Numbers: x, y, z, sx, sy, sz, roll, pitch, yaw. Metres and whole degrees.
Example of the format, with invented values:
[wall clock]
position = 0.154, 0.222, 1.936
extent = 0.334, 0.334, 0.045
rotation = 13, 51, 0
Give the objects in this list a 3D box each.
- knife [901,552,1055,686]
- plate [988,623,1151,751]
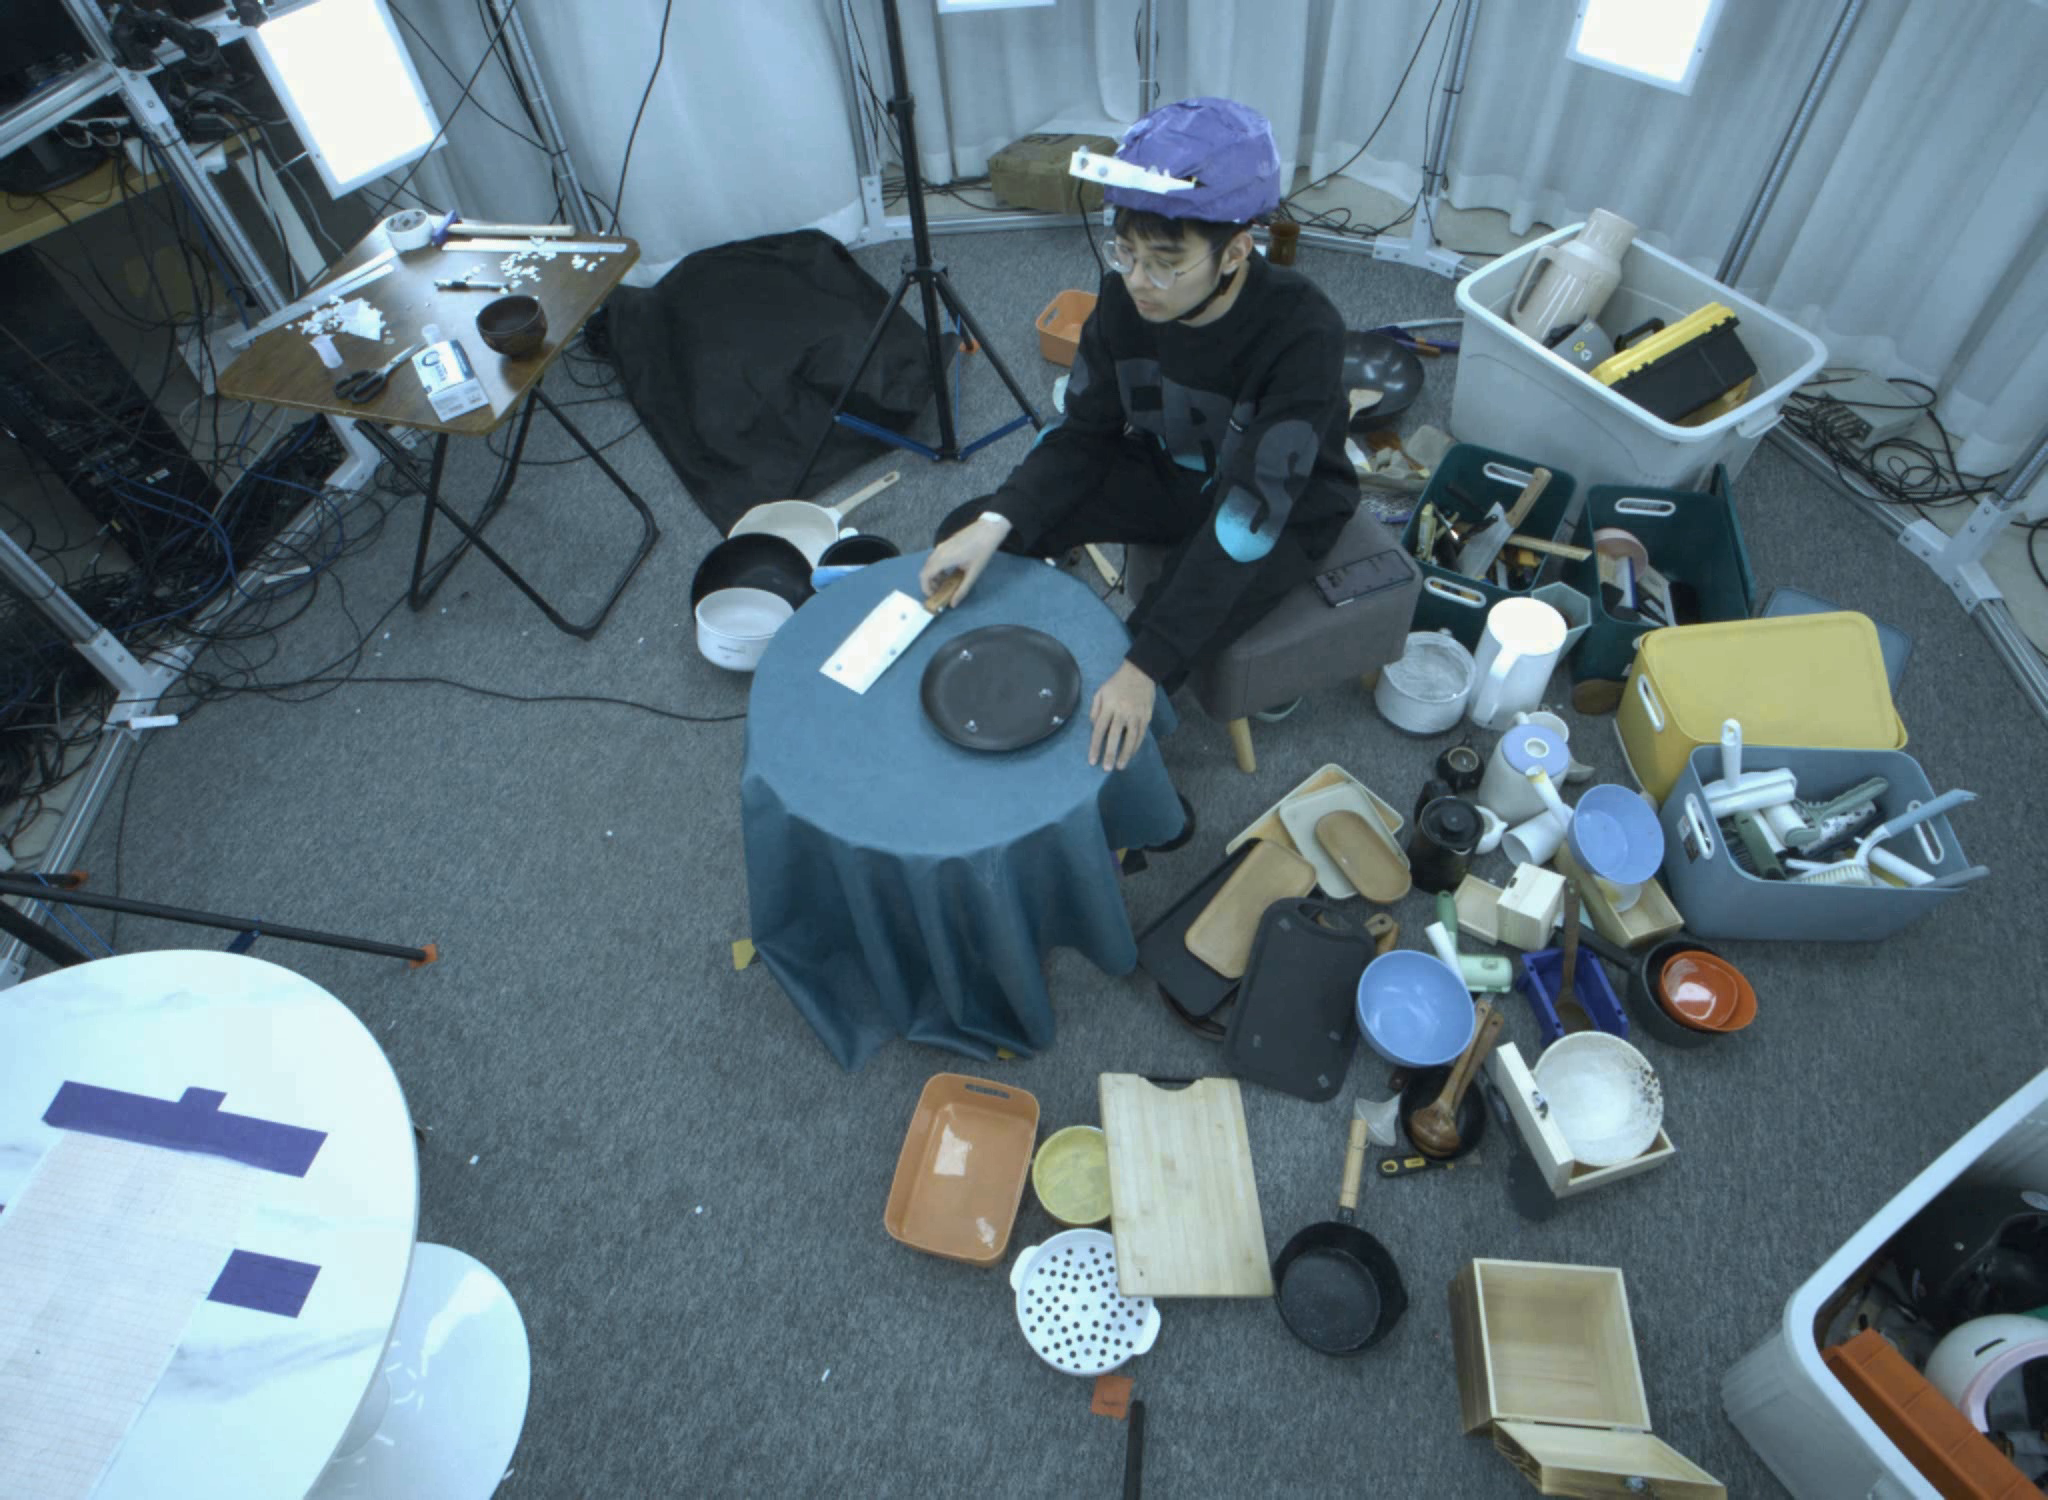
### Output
[knife]
position = -0.076, -0.219, 1.930
extent = 0.091, 0.021, 0.307
rotation = 33, 67, 23
[plate]
position = 0.067, -0.092, 1.835
extent = 0.244, 0.024, 0.242
rotation = -1, 55, 2
